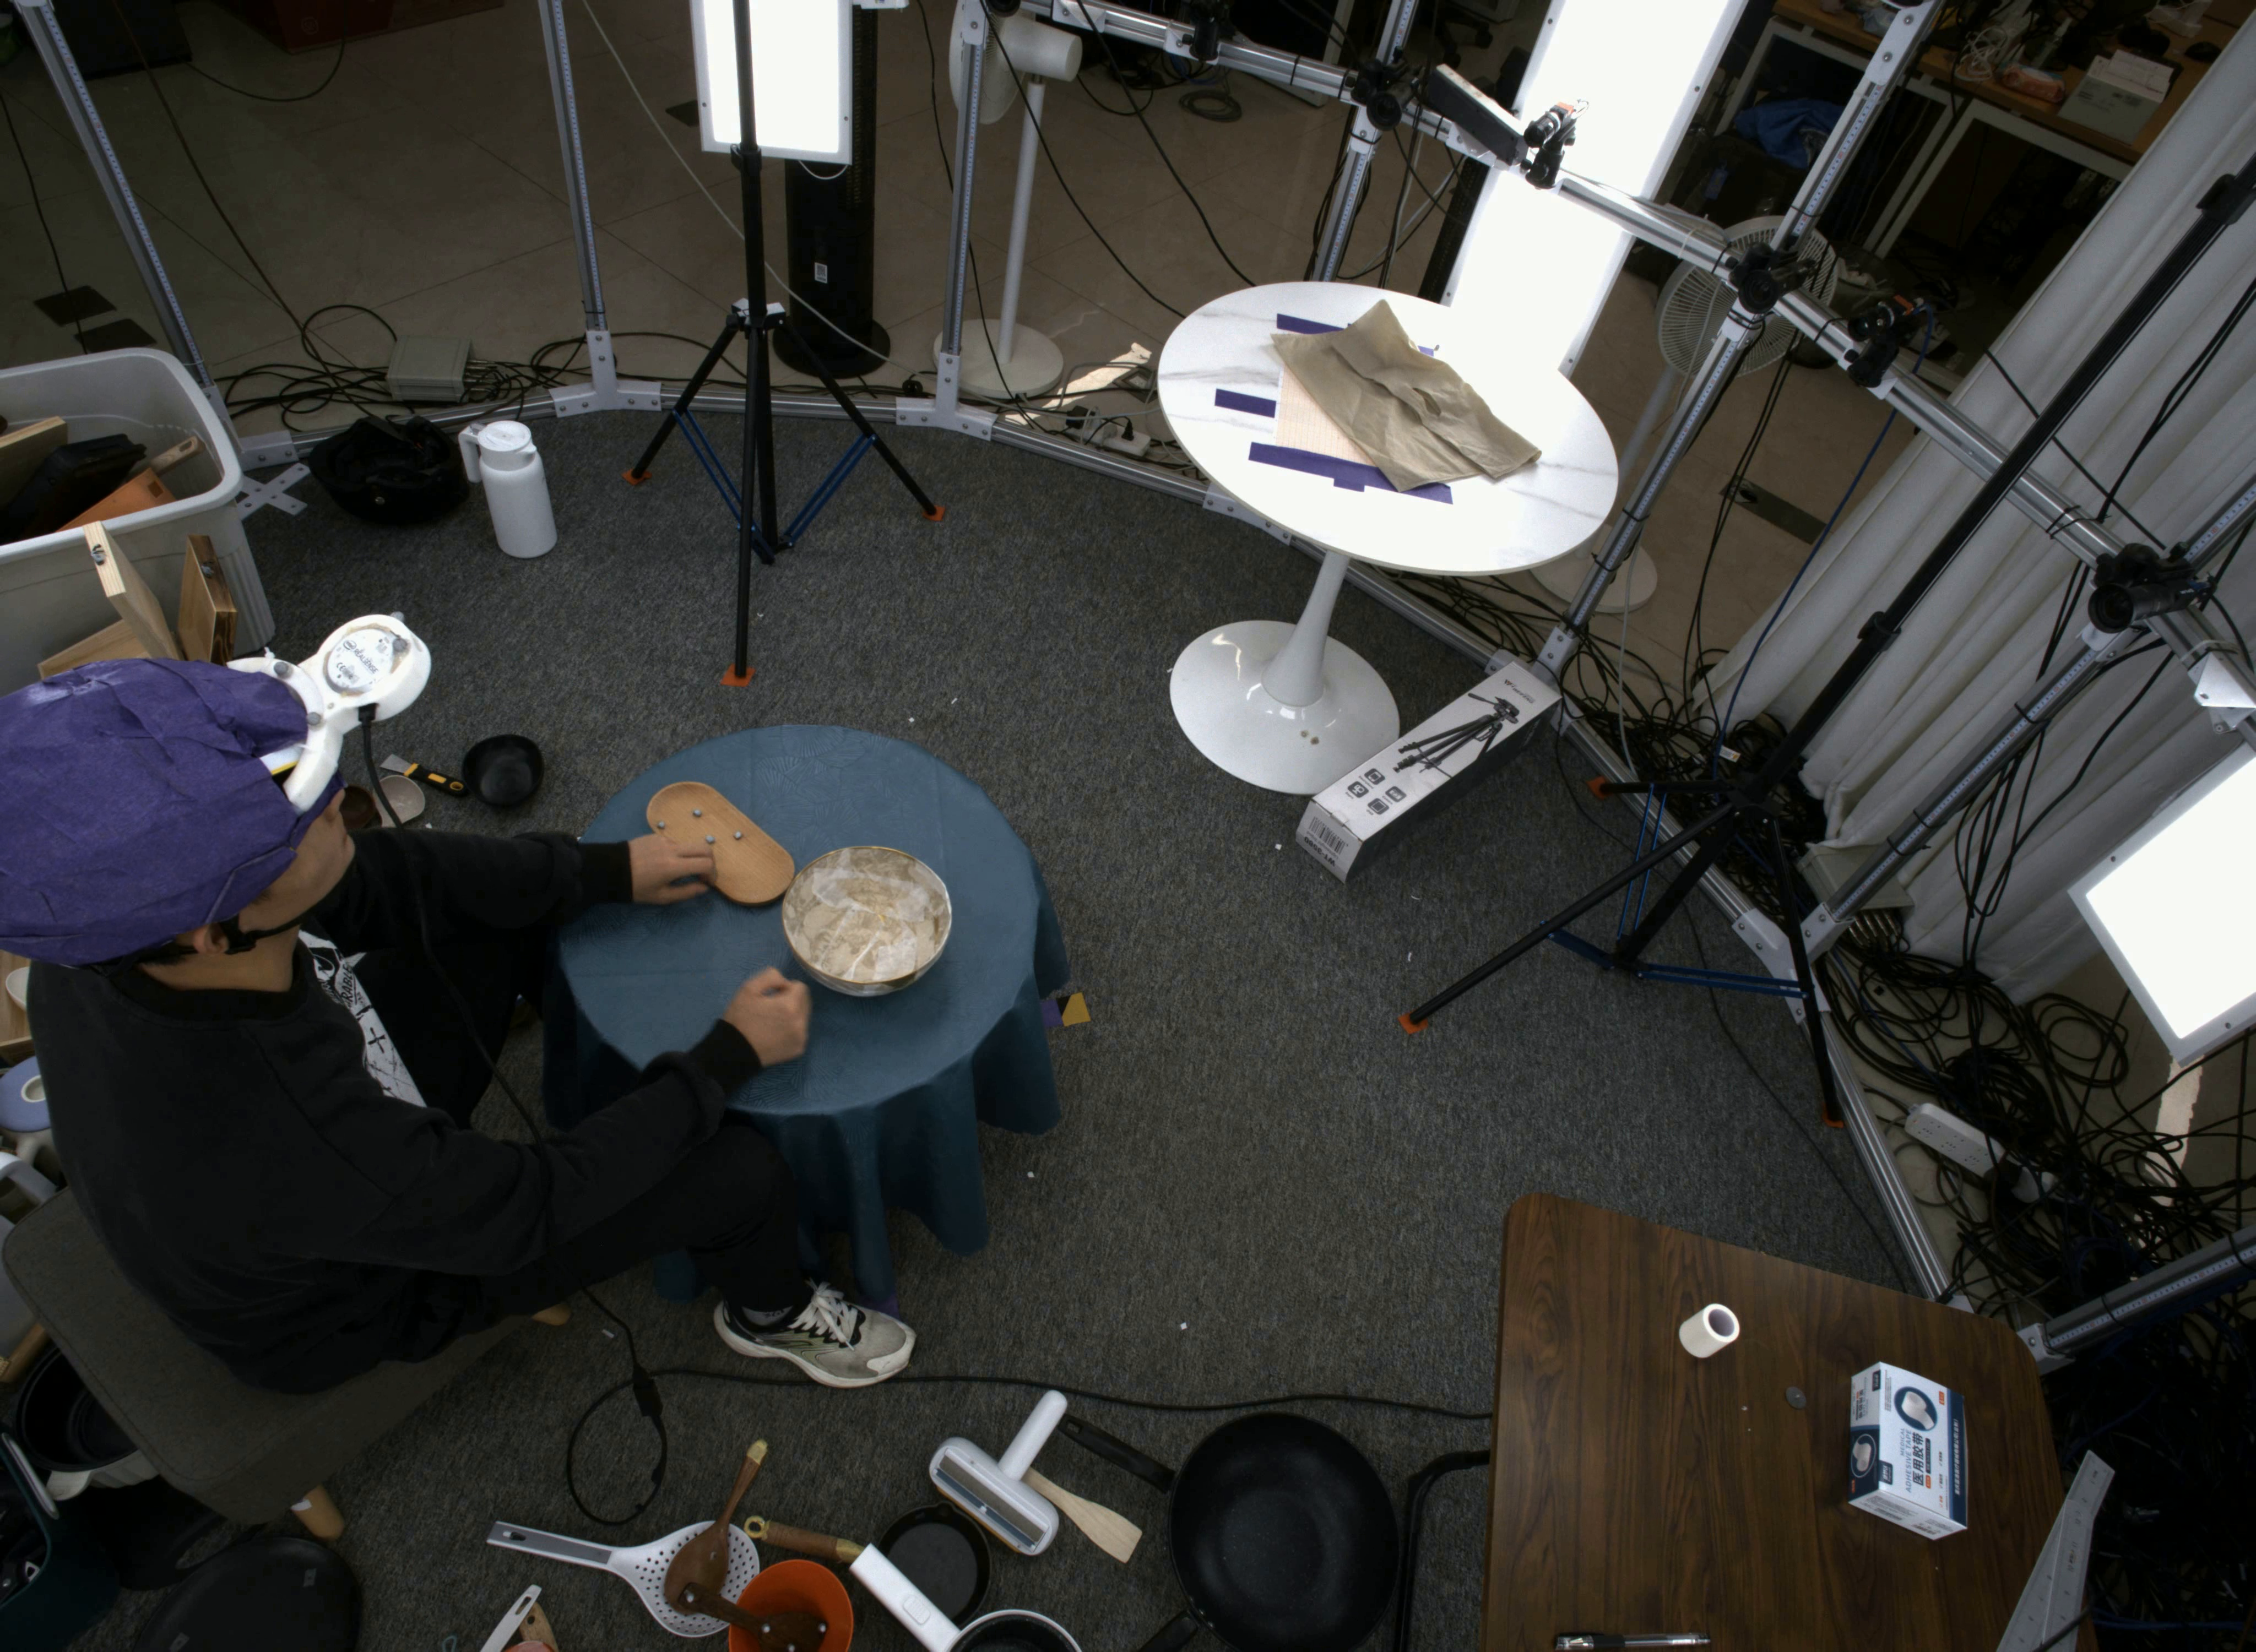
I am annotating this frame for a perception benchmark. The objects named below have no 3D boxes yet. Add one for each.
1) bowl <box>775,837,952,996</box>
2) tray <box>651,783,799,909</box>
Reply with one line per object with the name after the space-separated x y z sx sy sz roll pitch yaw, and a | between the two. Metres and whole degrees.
-0.325 0.125 1.601 0.214 0.096 0.211 8 53 -9 | bowl
-0.524 0.024 1.676 0.227 0.020 0.101 38 56 12 | tray
